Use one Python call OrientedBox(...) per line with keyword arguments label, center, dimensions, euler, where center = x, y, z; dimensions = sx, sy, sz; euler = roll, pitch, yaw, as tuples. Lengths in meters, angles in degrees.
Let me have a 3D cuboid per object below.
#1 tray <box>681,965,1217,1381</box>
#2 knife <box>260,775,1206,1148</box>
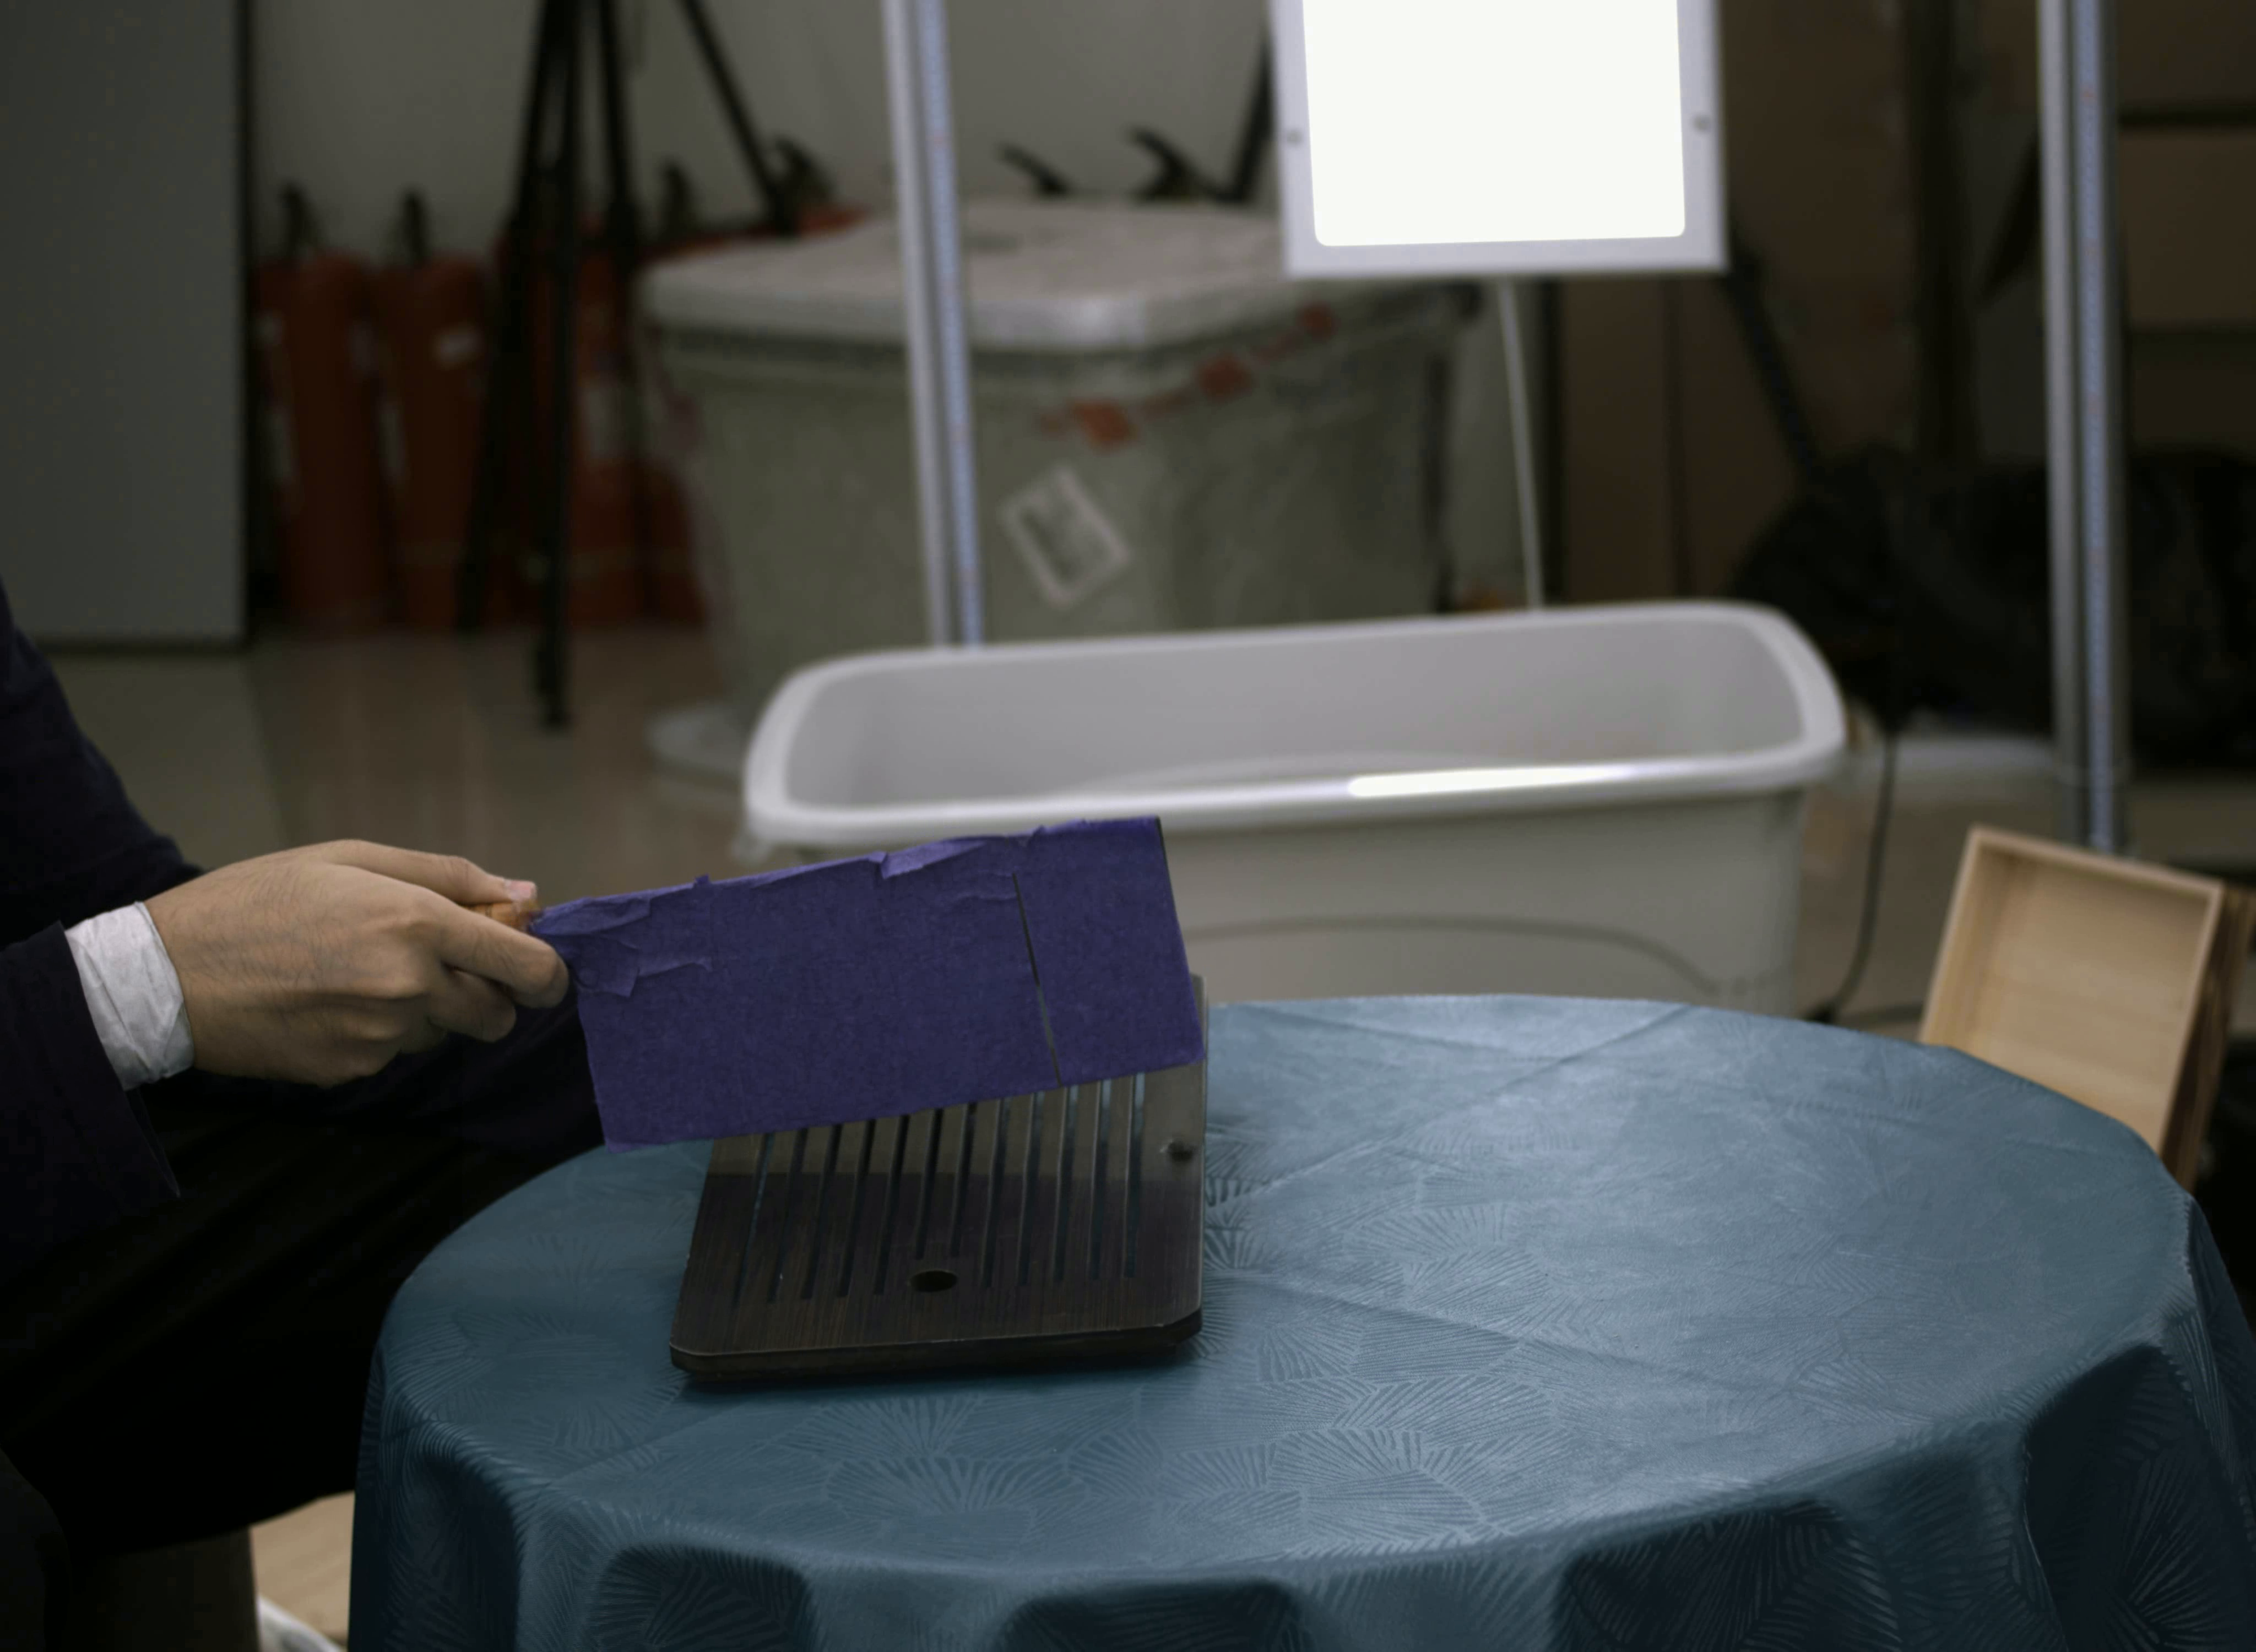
OrientedBox(label="tray", center=(-0.054, 0.115, 1.867), dimensions=(0.170, 0.019, 0.304), euler=(-5, 20, 4))
OrientedBox(label="knife", center=(-0.133, 0.059, 1.859), dimensions=(0.317, 0.104, 0.032), euler=(-10, 12, 10))
